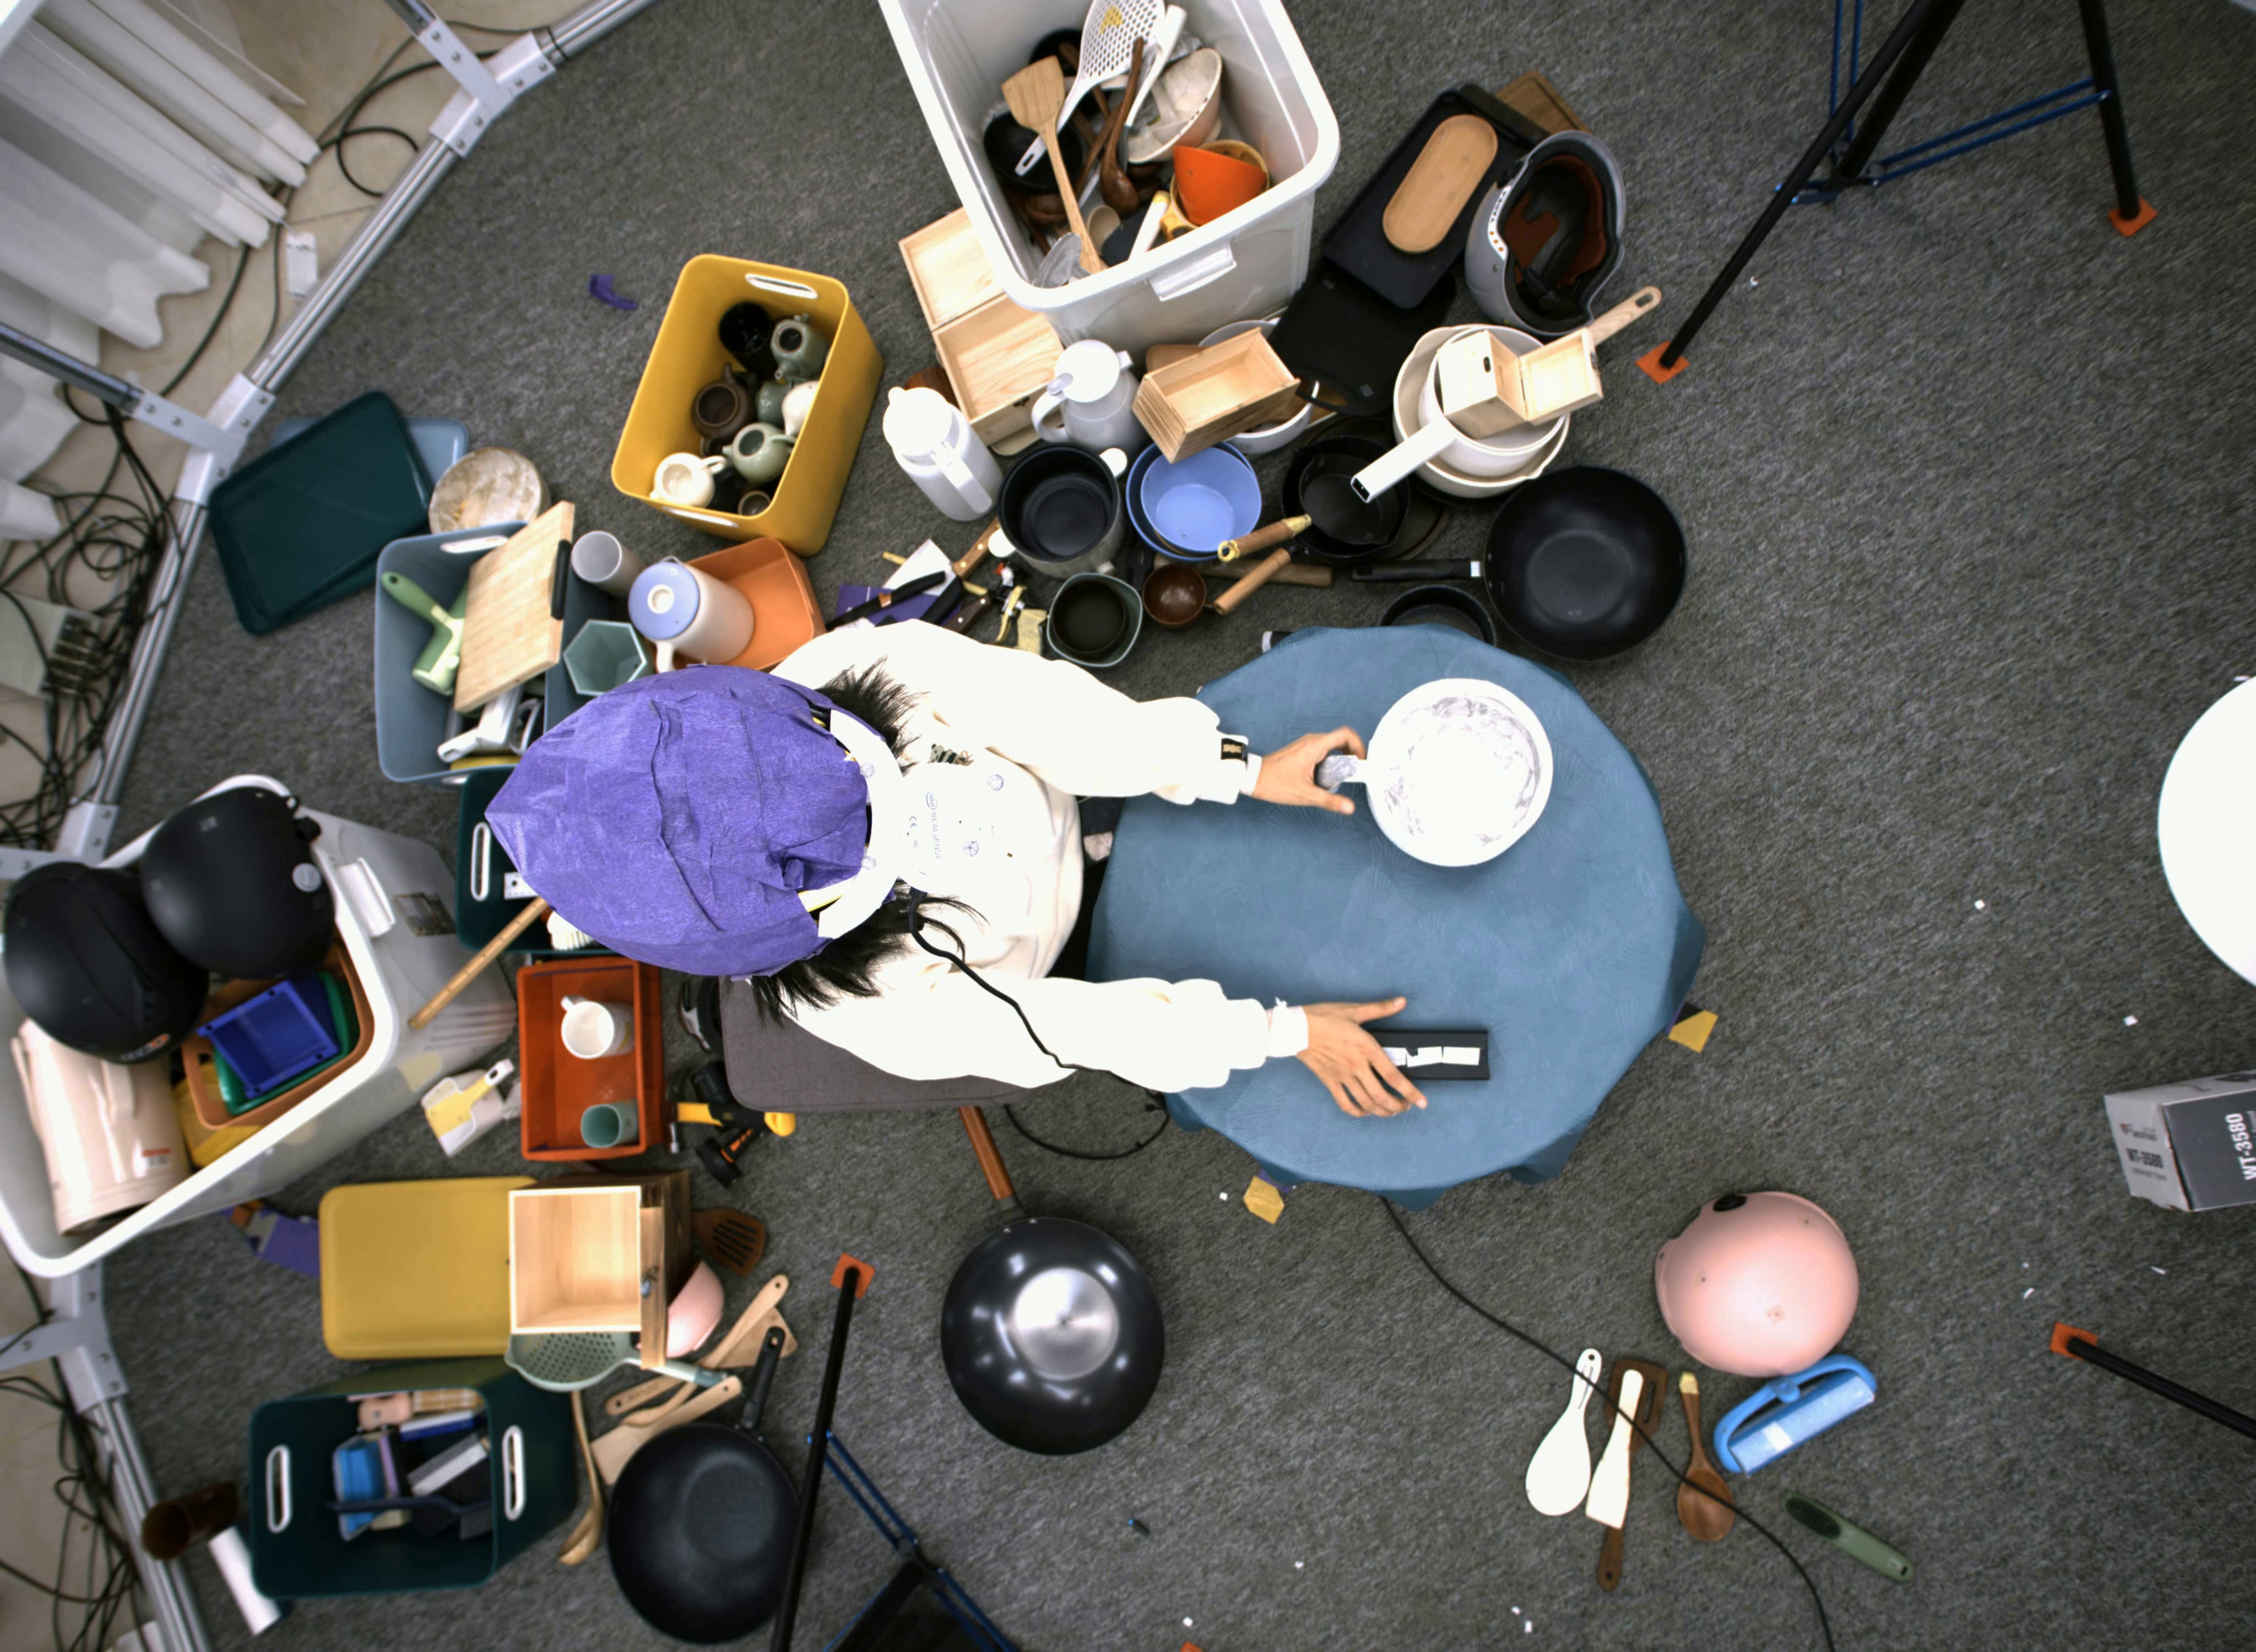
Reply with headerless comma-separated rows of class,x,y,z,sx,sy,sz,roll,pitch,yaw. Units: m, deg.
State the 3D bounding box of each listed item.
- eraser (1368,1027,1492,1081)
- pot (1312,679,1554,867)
eraser,0.312,0.234,1.430,0.126,0.030,0.053,-1,85,12
pot,0.302,-0.051,1.390,0.234,0.137,0.178,0,86,10
